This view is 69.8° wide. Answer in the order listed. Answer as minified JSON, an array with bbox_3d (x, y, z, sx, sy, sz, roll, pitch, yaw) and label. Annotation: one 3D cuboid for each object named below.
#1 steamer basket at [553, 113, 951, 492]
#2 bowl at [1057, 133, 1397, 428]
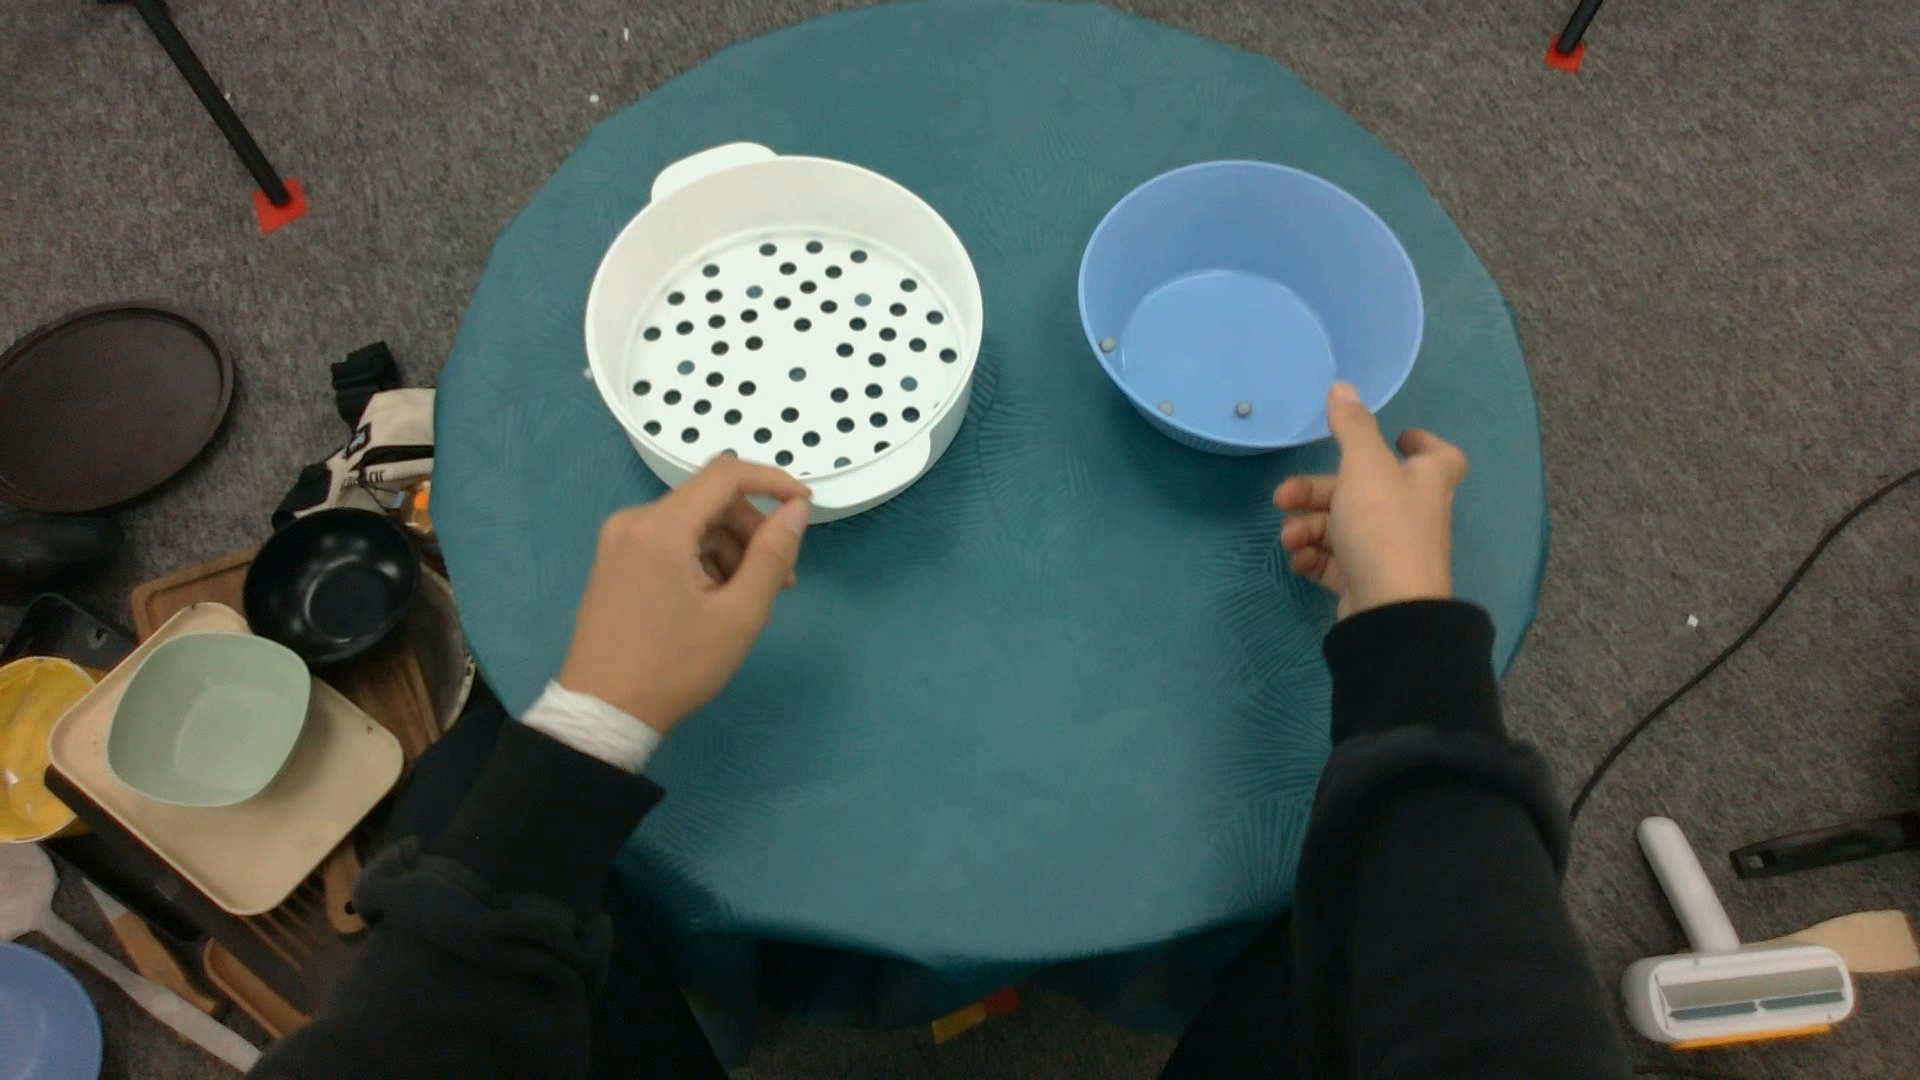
[{"bbox_3d":[-0.106,-0.121,0.725,0.202,0.069,0.231,-24,67,-12],"label":"steamer basket"},{"bbox_3d":[0.137,-0.126,0.737,0.176,0.070,0.176,1,66,-1],"label":"bowl"}]
